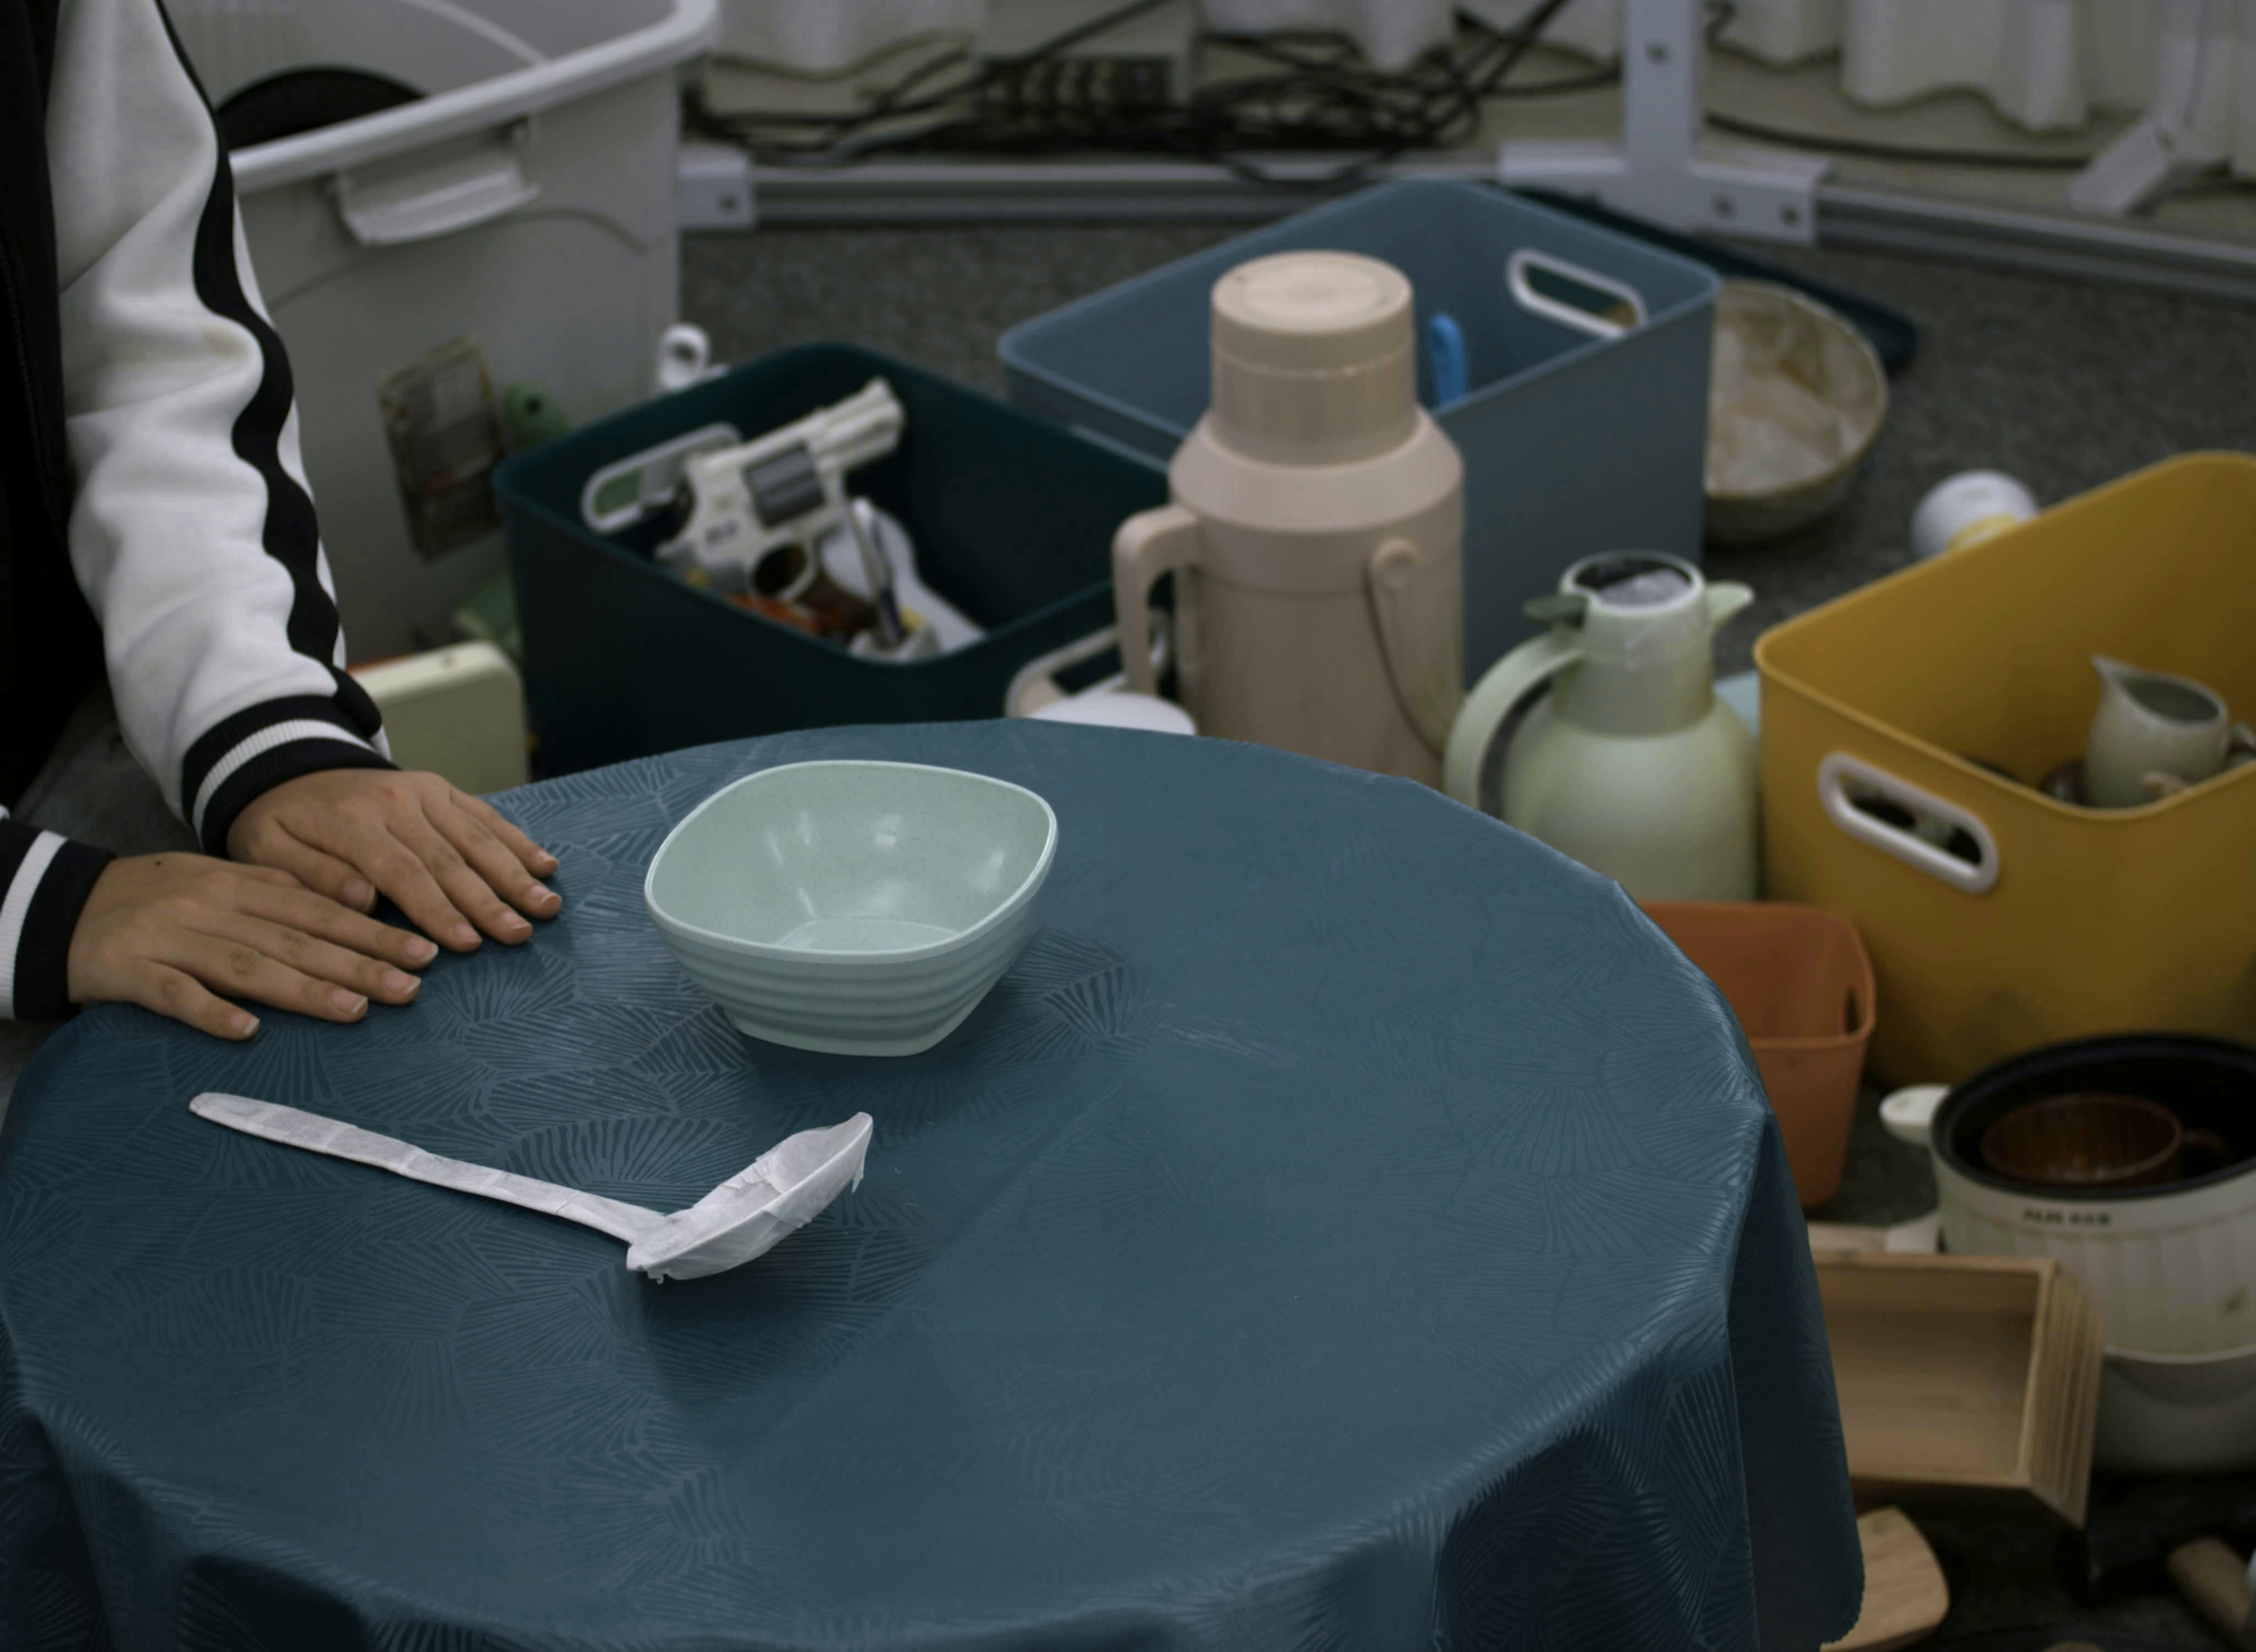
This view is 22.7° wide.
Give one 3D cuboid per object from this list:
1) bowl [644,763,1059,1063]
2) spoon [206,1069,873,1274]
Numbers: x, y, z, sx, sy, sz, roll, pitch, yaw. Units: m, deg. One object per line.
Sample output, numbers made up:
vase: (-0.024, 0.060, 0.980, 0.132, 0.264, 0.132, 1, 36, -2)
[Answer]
bowl: (-0.095, 0.036, 1.978, 0.151, 0.058, 0.154, -2, 28, 2)
spoon: (-0.203, 0.095, 1.871, 0.276, 0.059, 0.102, 16, 28, 32)
